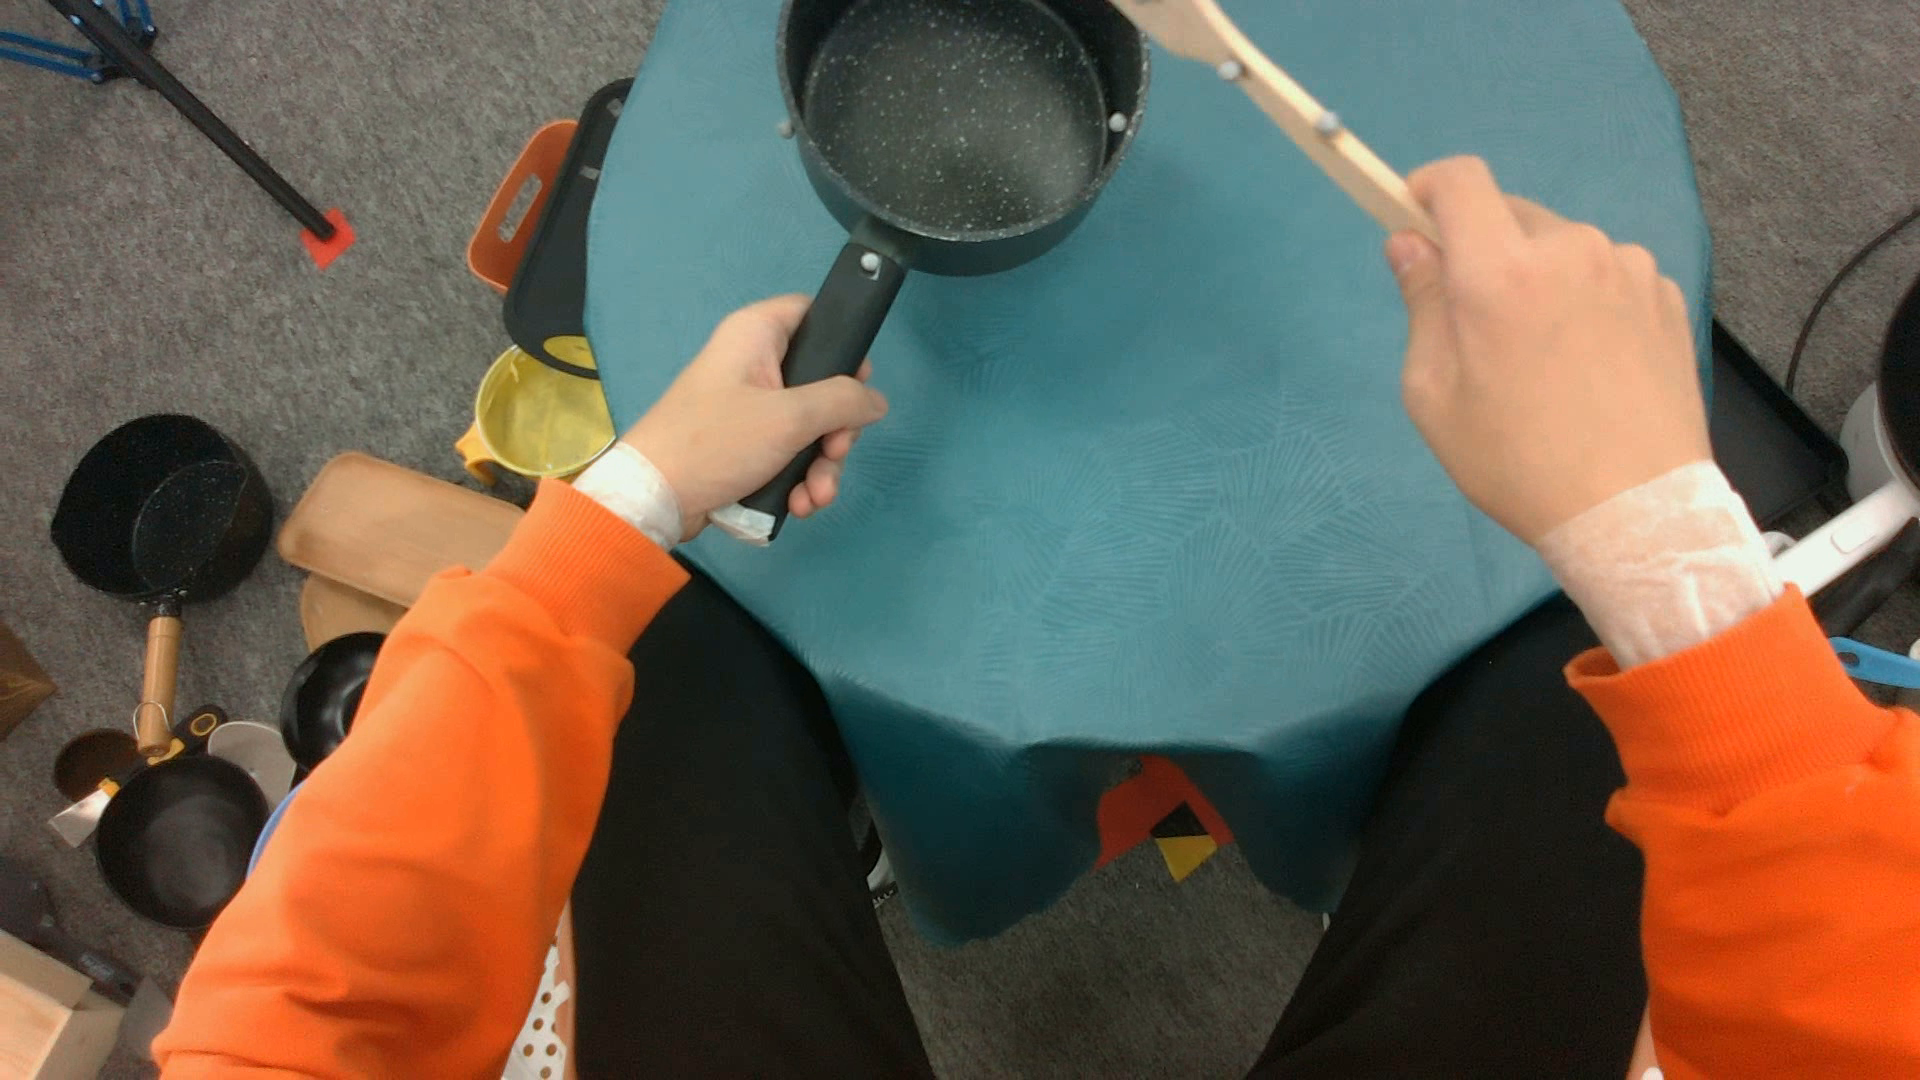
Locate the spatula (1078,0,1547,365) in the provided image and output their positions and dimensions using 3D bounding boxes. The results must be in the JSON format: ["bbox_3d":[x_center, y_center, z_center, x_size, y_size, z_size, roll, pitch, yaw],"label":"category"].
[{"bbox_3d":[0.109,-0.167,0.517,0.010,0.072,0.293,-41,69,0],"label":"spatula"}]

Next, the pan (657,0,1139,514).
[{"bbox_3d":[-0.042,-0.154,0.648,0.172,0.086,0.329,28,80,-1],"label":"pan"}]
